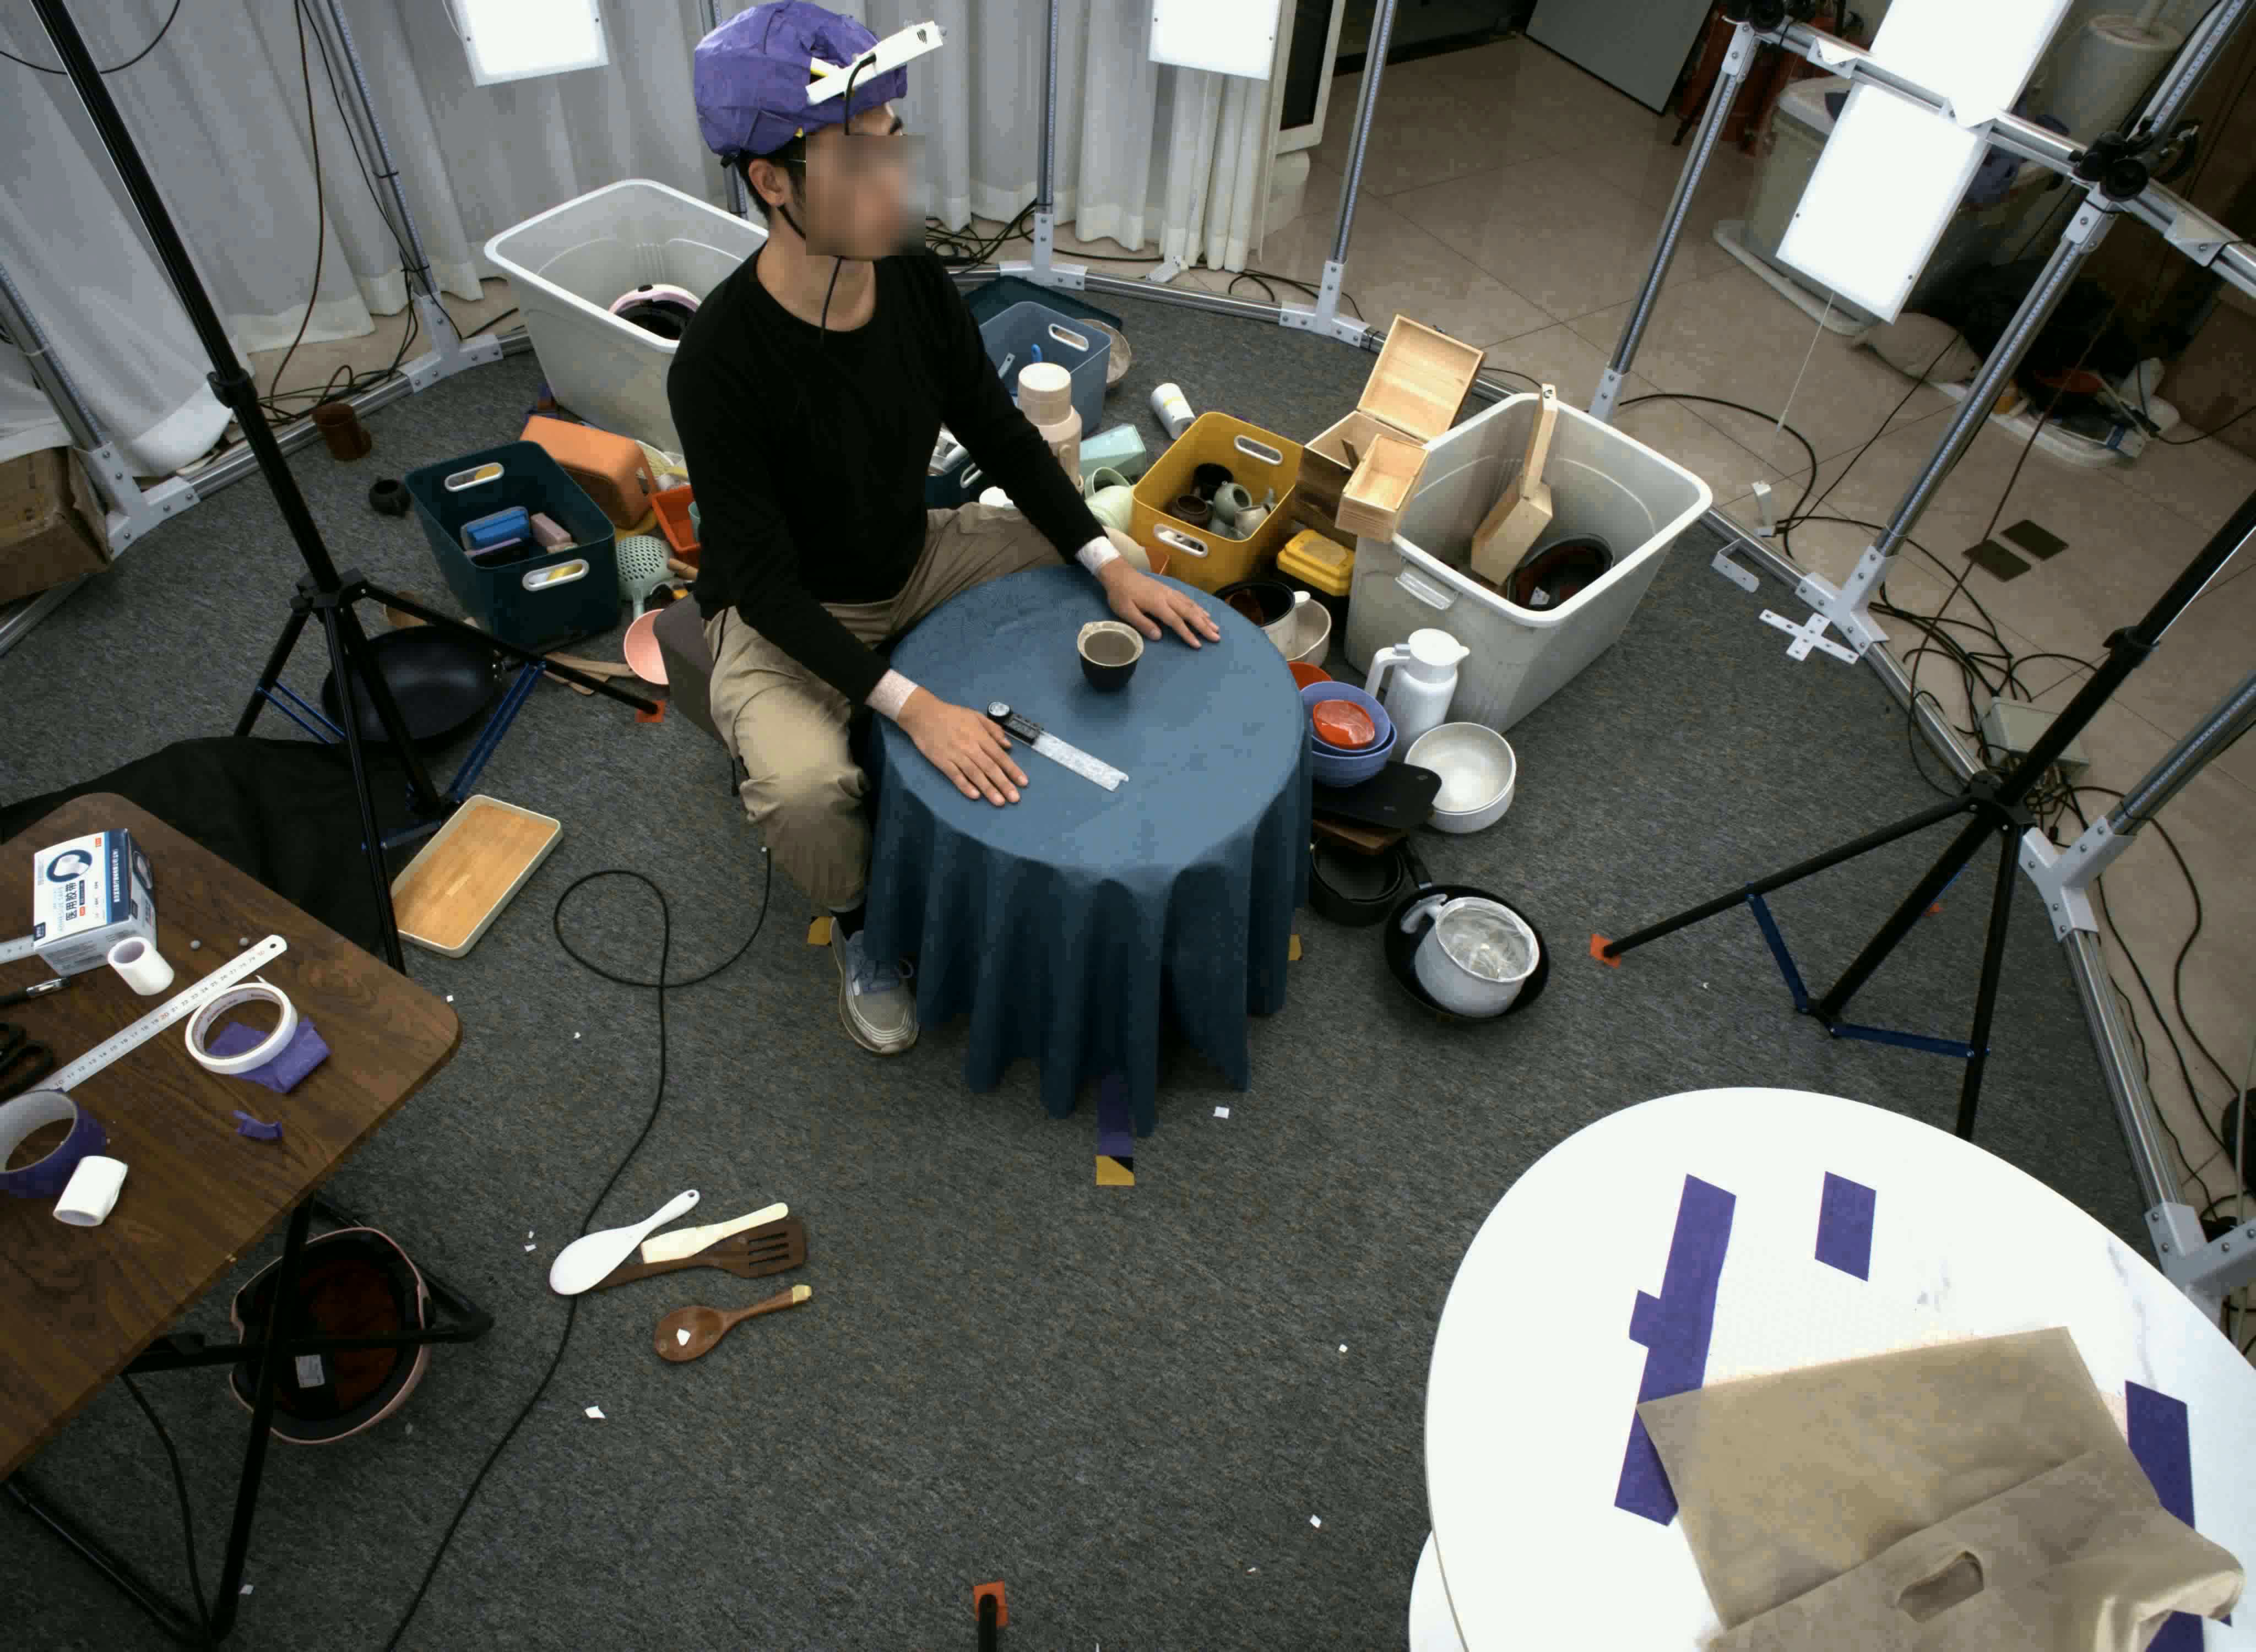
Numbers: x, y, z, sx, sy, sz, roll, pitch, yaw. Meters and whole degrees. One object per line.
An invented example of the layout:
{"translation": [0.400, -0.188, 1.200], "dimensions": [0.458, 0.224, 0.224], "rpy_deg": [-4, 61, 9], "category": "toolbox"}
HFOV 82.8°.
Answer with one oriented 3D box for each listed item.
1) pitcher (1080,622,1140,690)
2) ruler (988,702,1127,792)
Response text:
{"translation": [-0.030, -0.238, 1.827], "dimensions": [0.084, 0.069, 0.097], "rpy_deg": [-31, 59, -26], "category": "pitcher"}
{"translation": [-0.100, -0.112, 1.746], "dimensions": [0.220, 0.023, 0.039], "rpy_deg": [28, 60, 21], "category": "ruler"}
